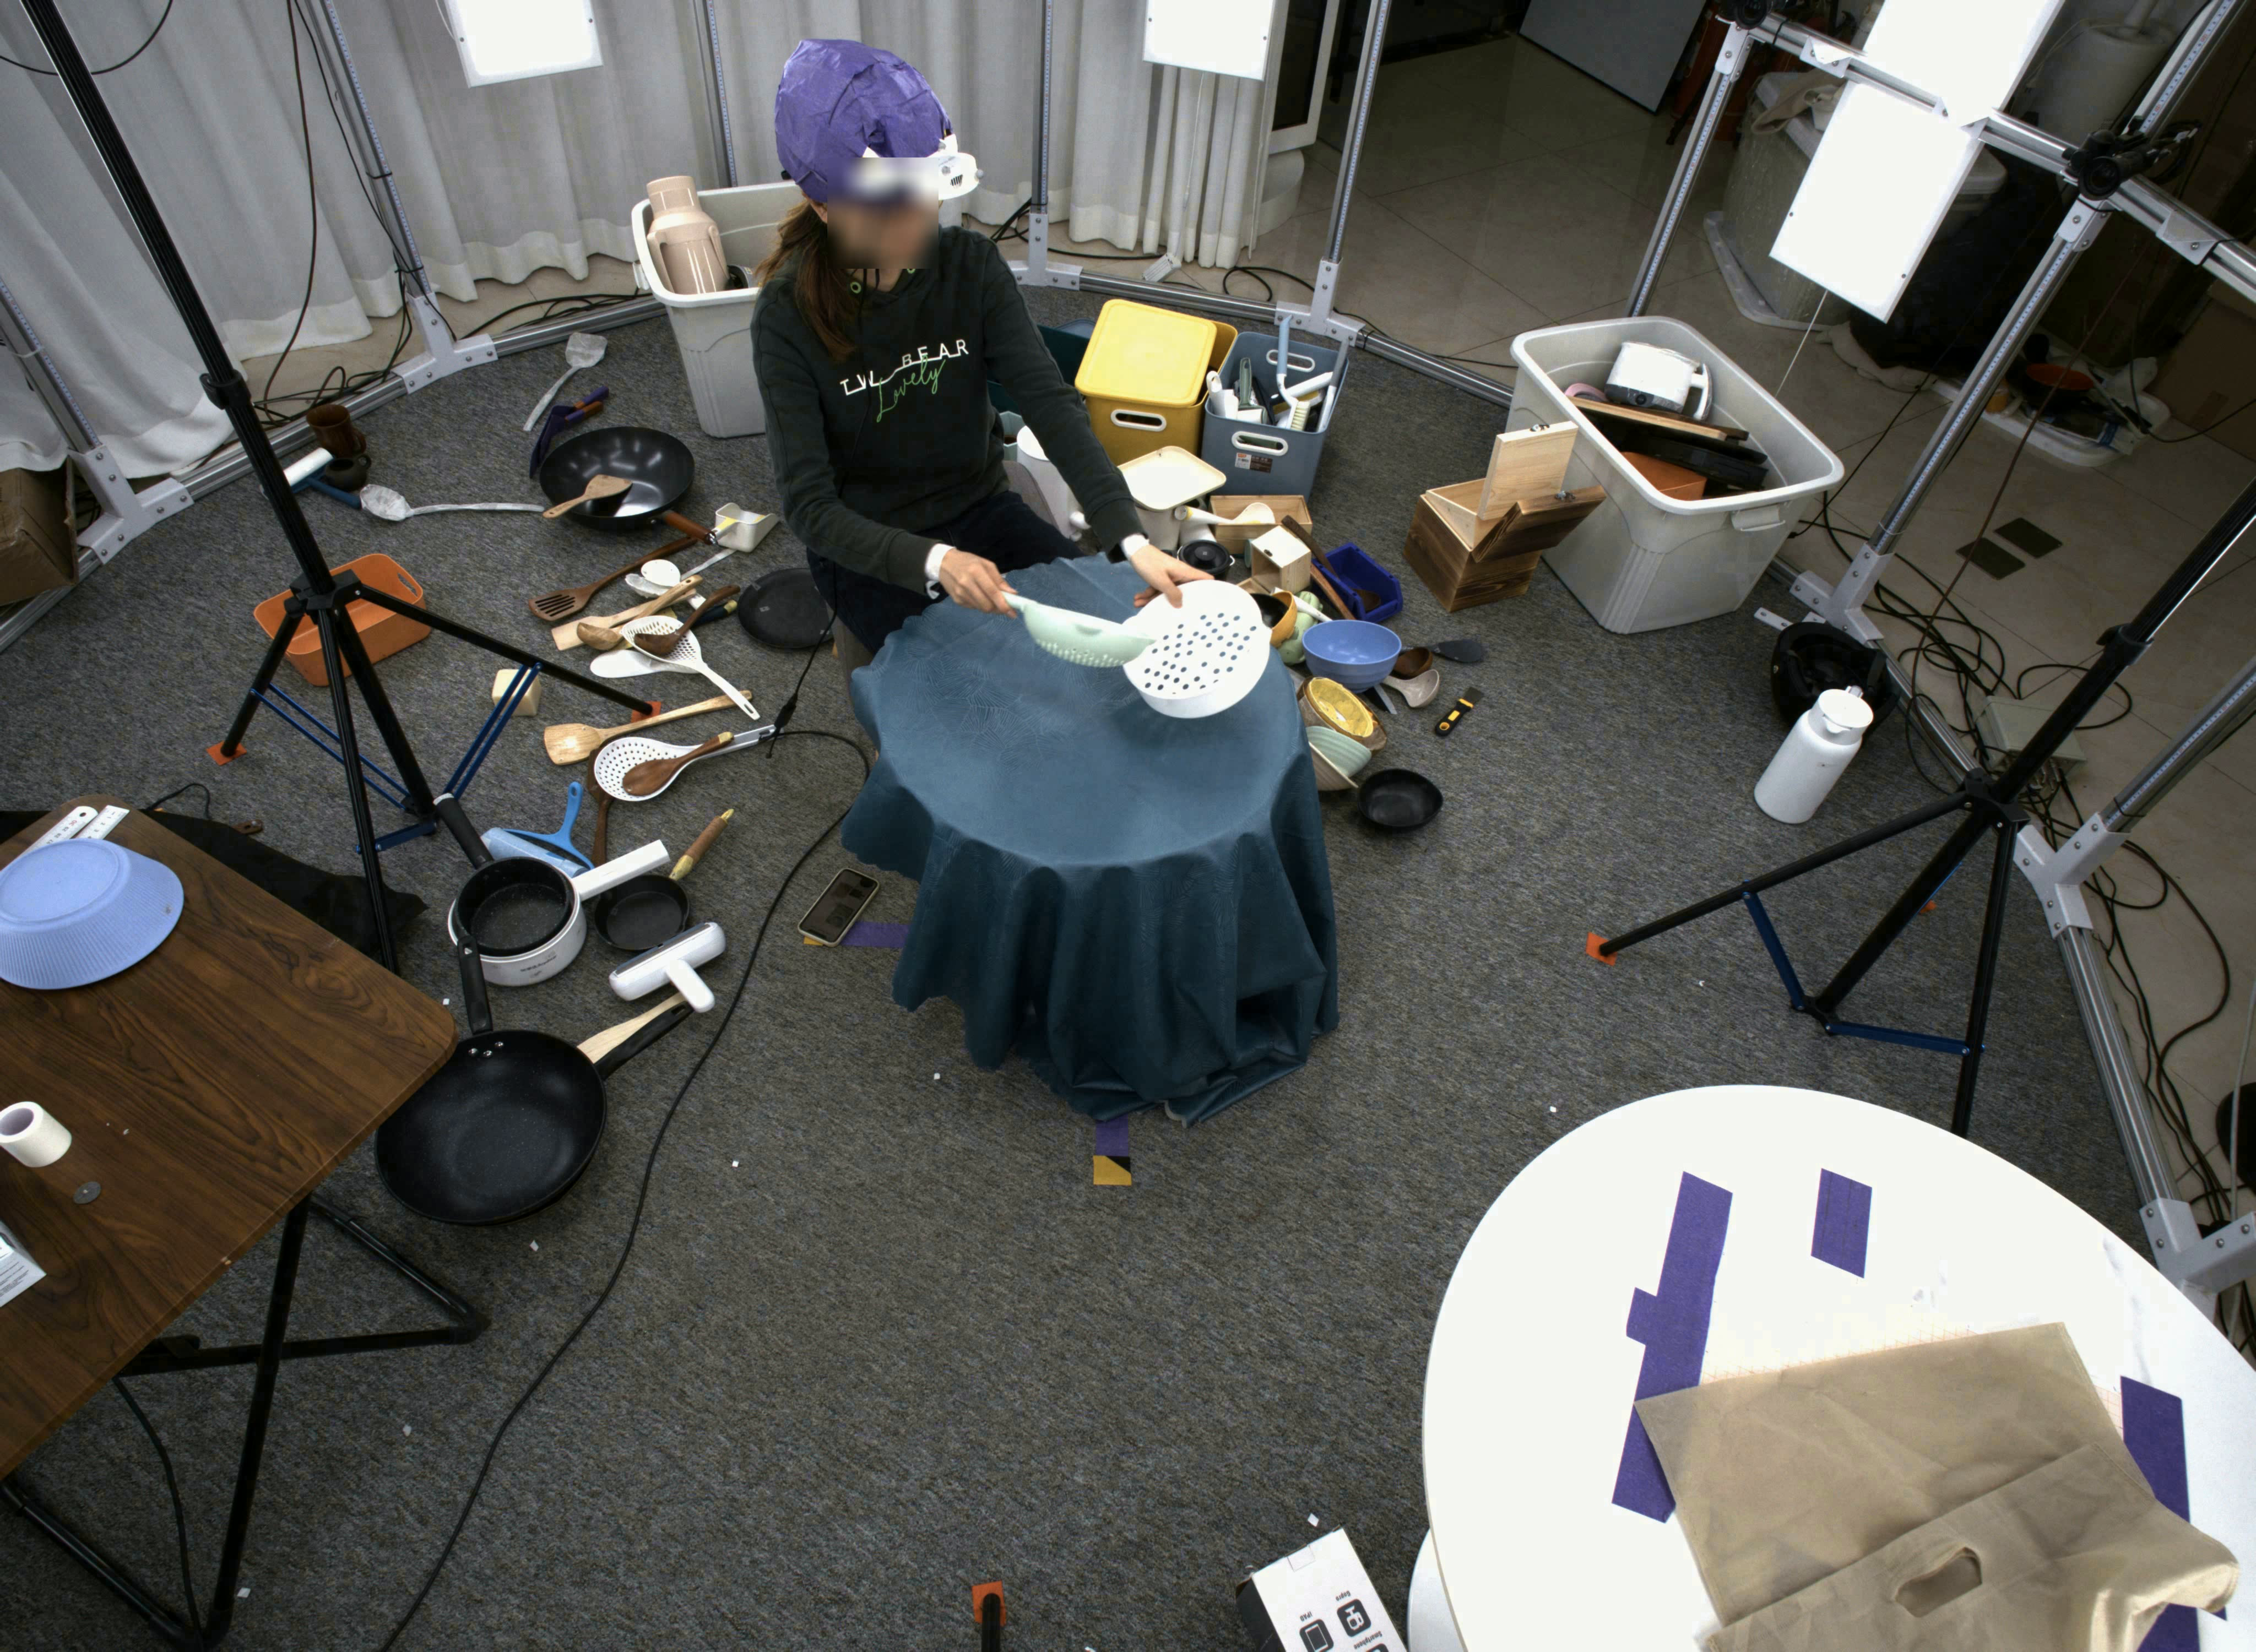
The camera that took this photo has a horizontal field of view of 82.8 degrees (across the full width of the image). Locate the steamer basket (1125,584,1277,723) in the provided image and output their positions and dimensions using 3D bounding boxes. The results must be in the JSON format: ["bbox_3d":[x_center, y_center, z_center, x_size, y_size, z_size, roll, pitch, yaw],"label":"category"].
[{"bbox_3d":[0.102,-0.238,1.772,0.231,0.067,0.205,4,59,28],"label":"steamer basket"}]

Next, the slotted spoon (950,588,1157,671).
[{"bbox_3d":[-0.124,-0.278,1.720,0.168,0.074,0.365,2,23,-46],"label":"slotted spoon"}]
